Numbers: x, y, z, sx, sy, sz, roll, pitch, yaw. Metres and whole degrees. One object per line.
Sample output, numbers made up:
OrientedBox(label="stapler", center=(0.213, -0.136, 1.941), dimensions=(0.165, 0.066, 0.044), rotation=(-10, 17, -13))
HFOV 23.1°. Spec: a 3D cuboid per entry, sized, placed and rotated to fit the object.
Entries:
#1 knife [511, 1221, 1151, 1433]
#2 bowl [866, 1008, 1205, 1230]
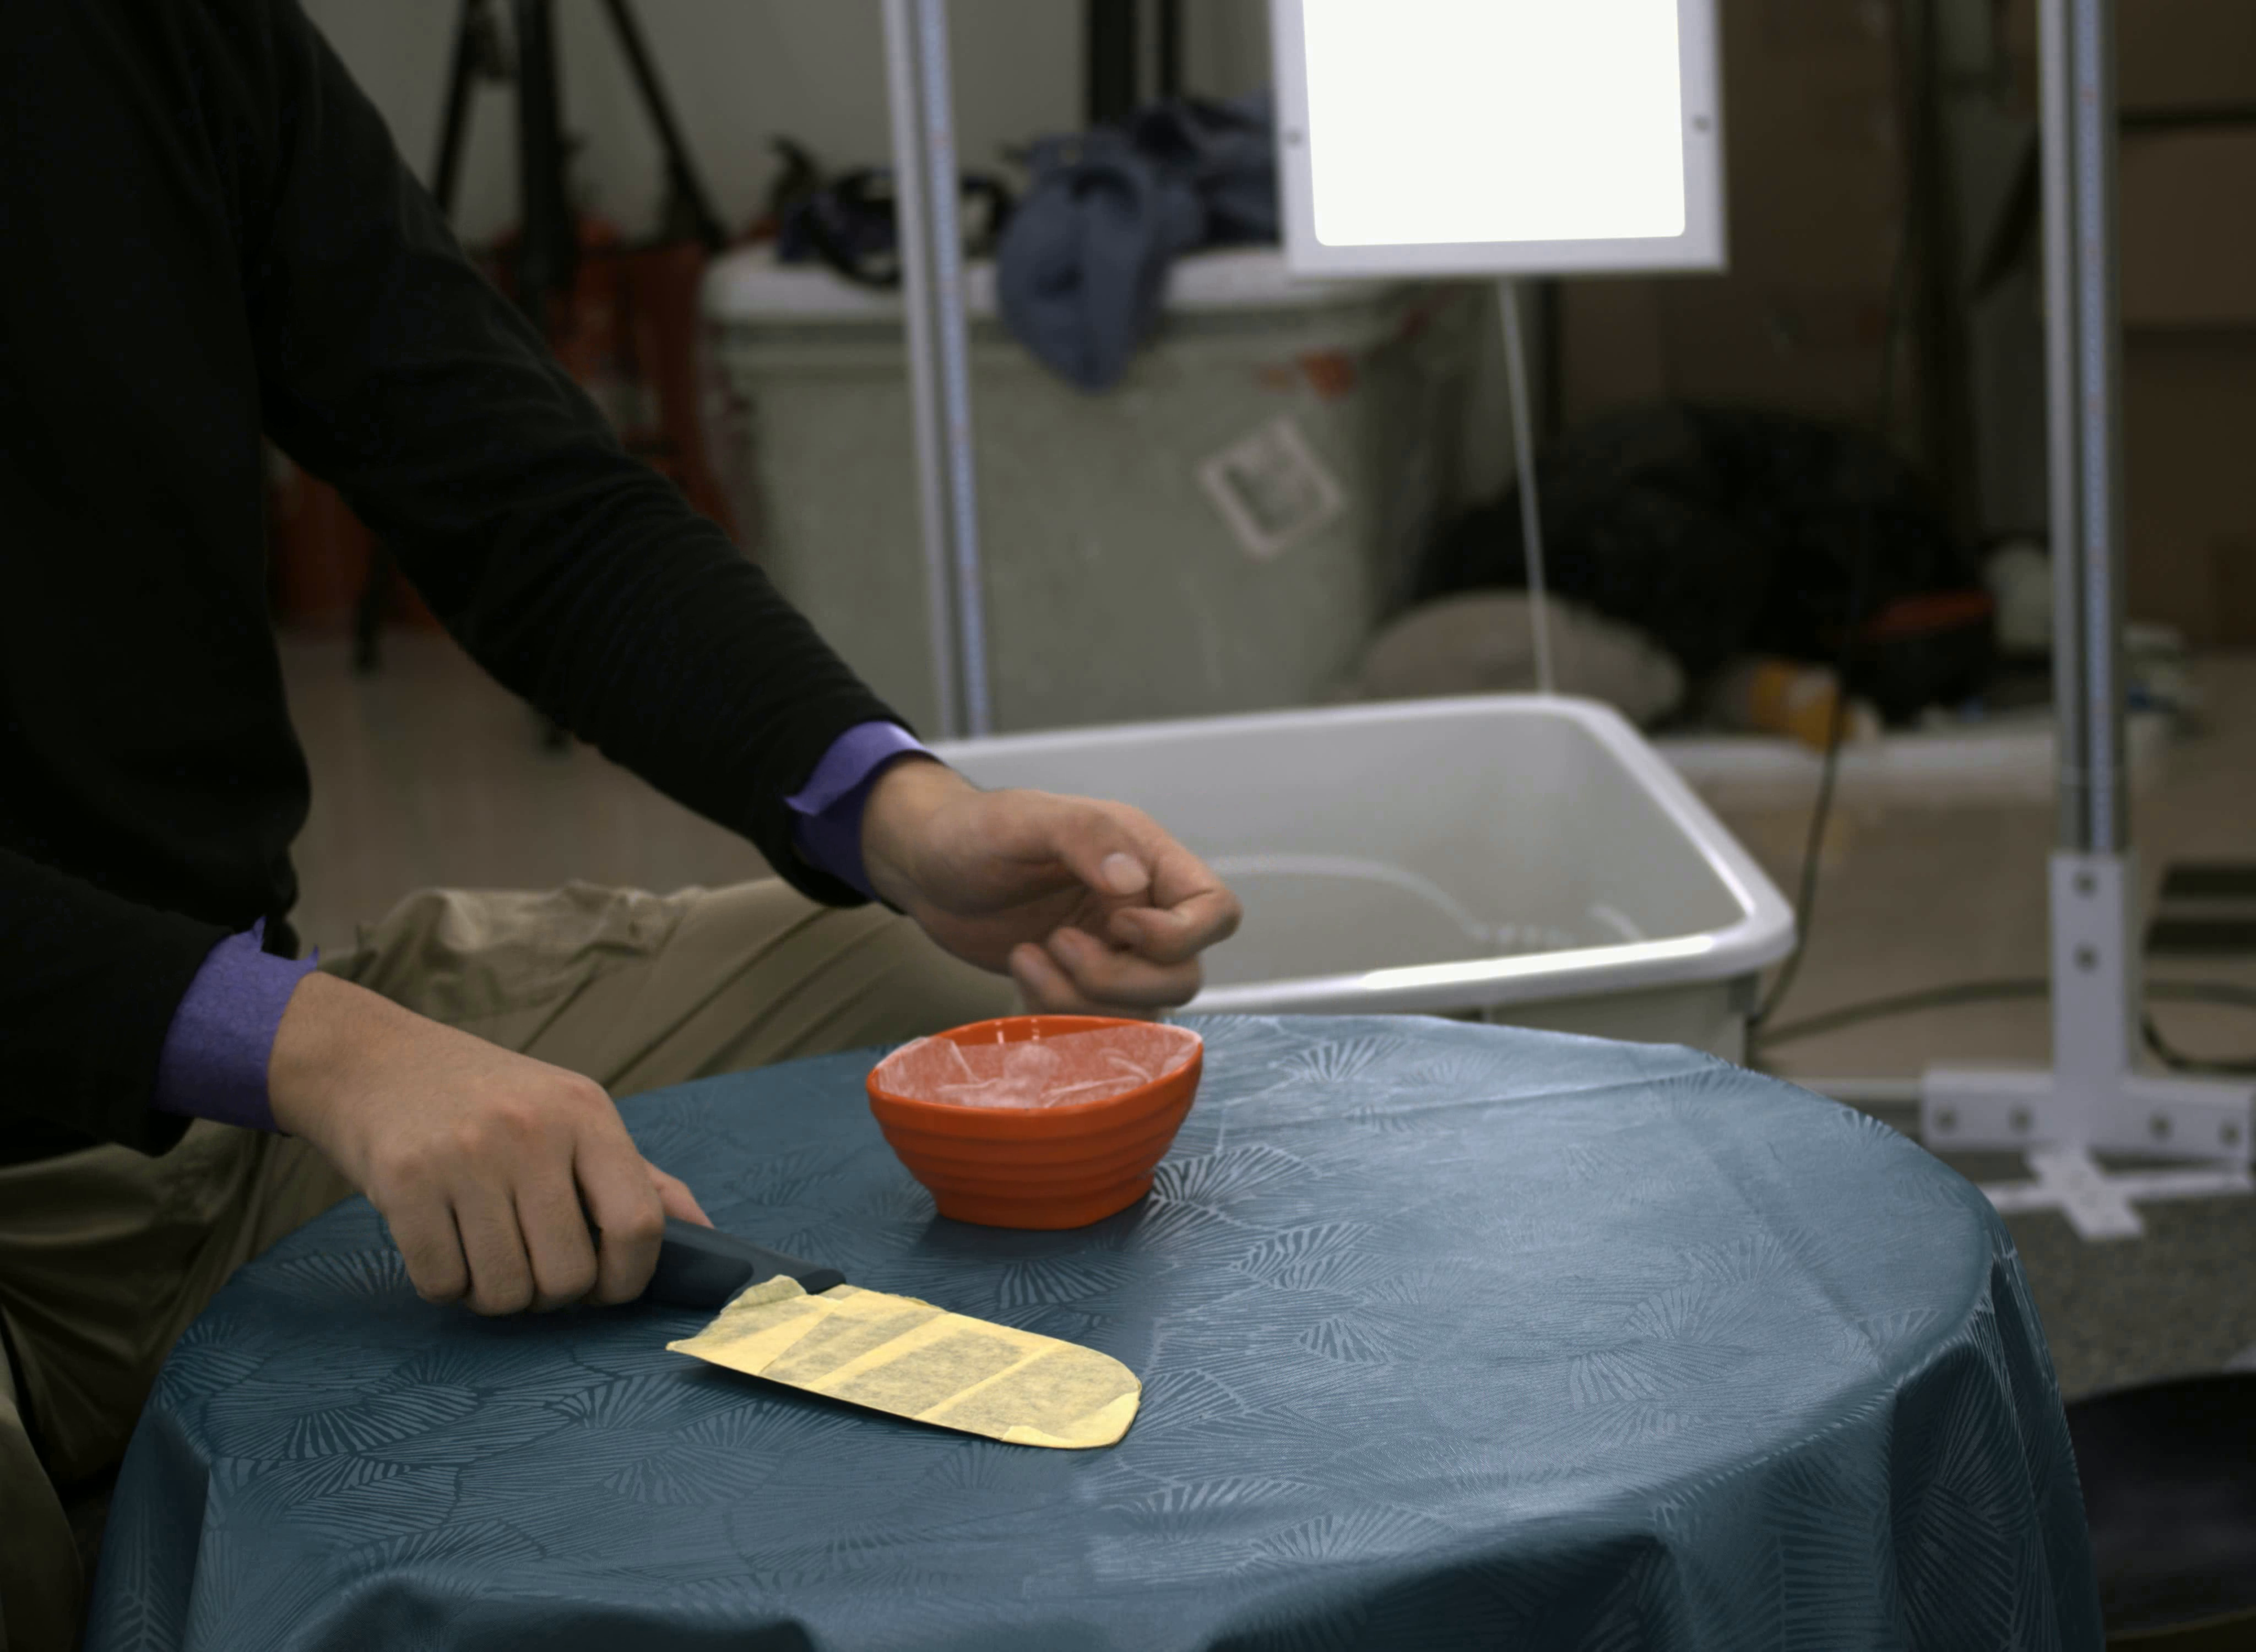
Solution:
OrientedBox(label="knife", center=(-0.105, 0.162, 1.765), dimensions=(0.296, 0.027, 0.079), rotation=(9, 19, 43))
OrientedBox(label="bowl", center=(-0.030, 0.103, 1.895), dimensions=(0.118, 0.051, 0.119), rotation=(-5, 16, 0))
